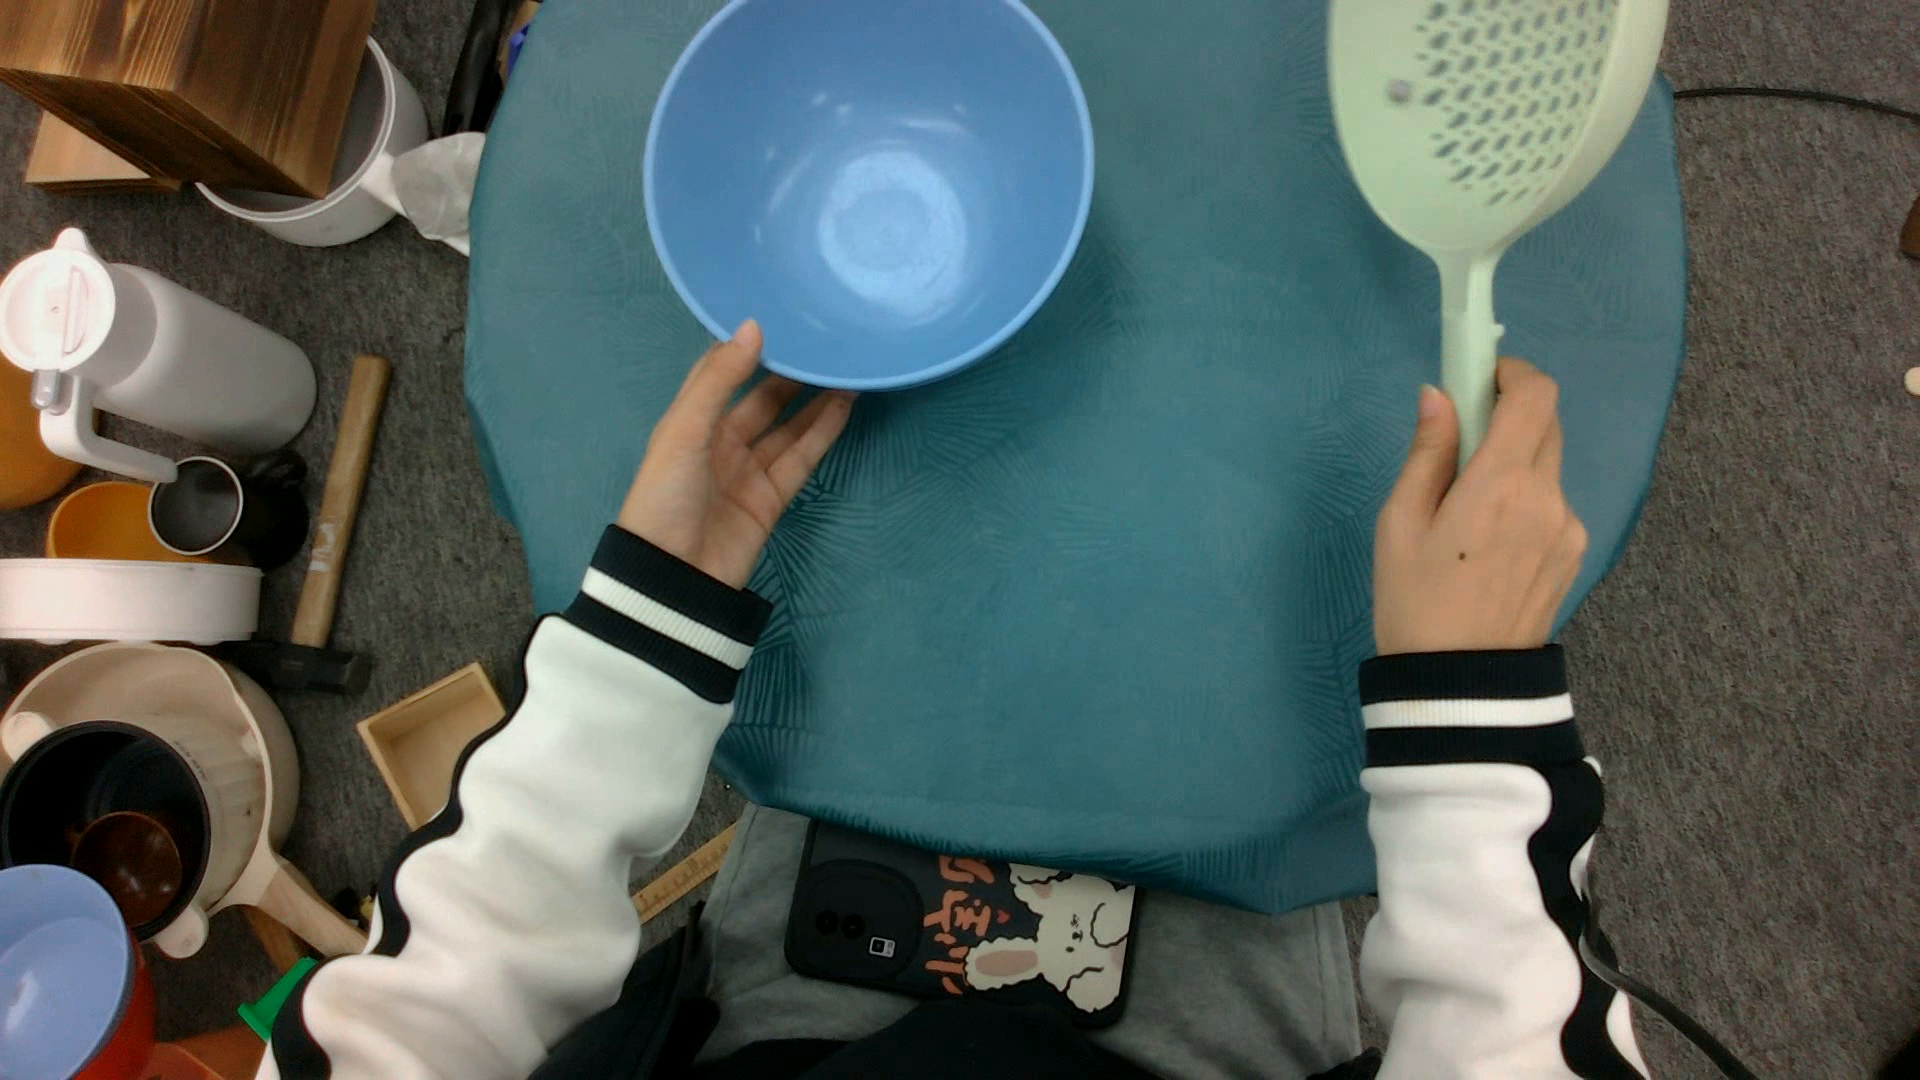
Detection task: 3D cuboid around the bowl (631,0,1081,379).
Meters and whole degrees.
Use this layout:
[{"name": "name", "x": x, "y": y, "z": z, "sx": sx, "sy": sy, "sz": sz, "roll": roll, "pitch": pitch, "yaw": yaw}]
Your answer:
[{"name": "bowl", "x": -0.043, "y": -0.161, "z": 0.641, "sx": 0.196, "sy": 0.095, "sz": 0.196, "roll": 0, "pitch": 82, "yaw": 3}]

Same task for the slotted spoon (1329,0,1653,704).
[{"name": "slotted spoon", "x": 0.207, "y": -0.108, "z": 0.557, "sx": 0.075, "sy": 0.169, "sz": 0.358, "roll": 2, "pitch": 98, "yaw": -16}]
